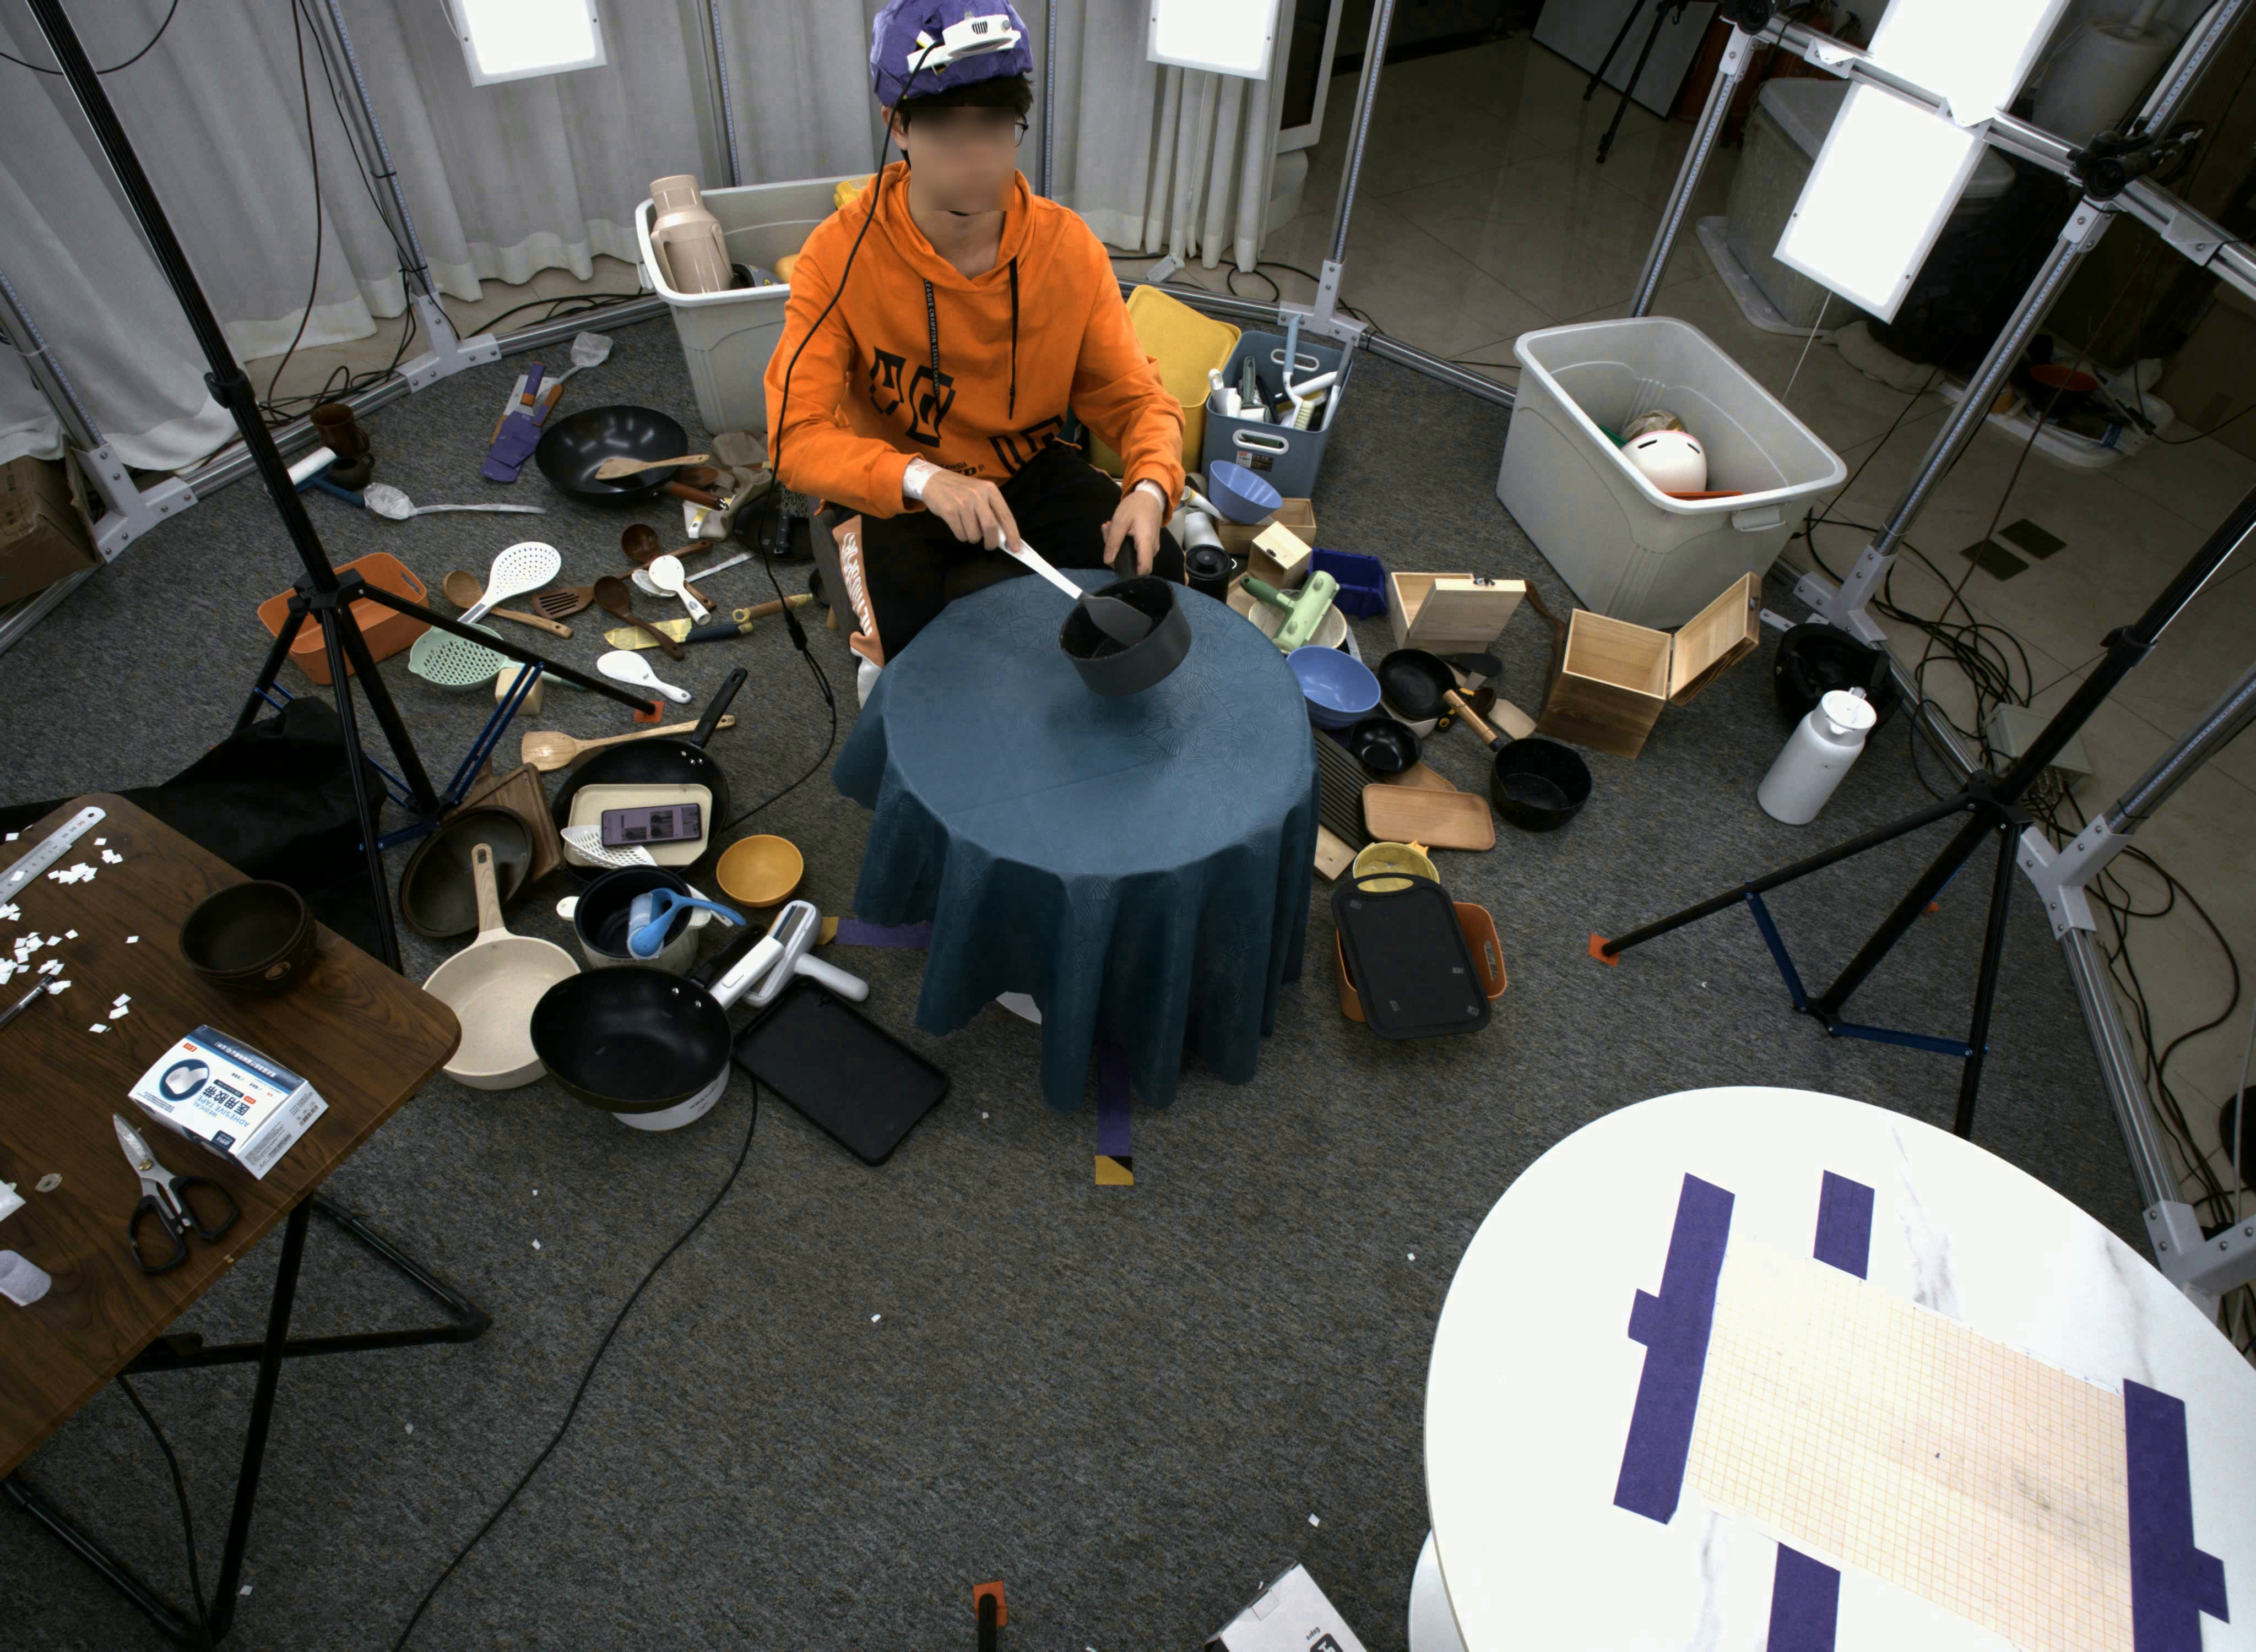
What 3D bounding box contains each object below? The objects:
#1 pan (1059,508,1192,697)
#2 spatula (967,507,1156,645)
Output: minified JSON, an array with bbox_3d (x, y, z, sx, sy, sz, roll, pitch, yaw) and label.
[{"bbox_3d":[0.004,-0.316,1.800,0.172,0.084,0.337,-13,43,20],"label":"pan"},{"bbox_3d":[-0.092,-0.342,1.767,0.287,0.058,0.032,34,13,-2],"label":"spatula"}]
